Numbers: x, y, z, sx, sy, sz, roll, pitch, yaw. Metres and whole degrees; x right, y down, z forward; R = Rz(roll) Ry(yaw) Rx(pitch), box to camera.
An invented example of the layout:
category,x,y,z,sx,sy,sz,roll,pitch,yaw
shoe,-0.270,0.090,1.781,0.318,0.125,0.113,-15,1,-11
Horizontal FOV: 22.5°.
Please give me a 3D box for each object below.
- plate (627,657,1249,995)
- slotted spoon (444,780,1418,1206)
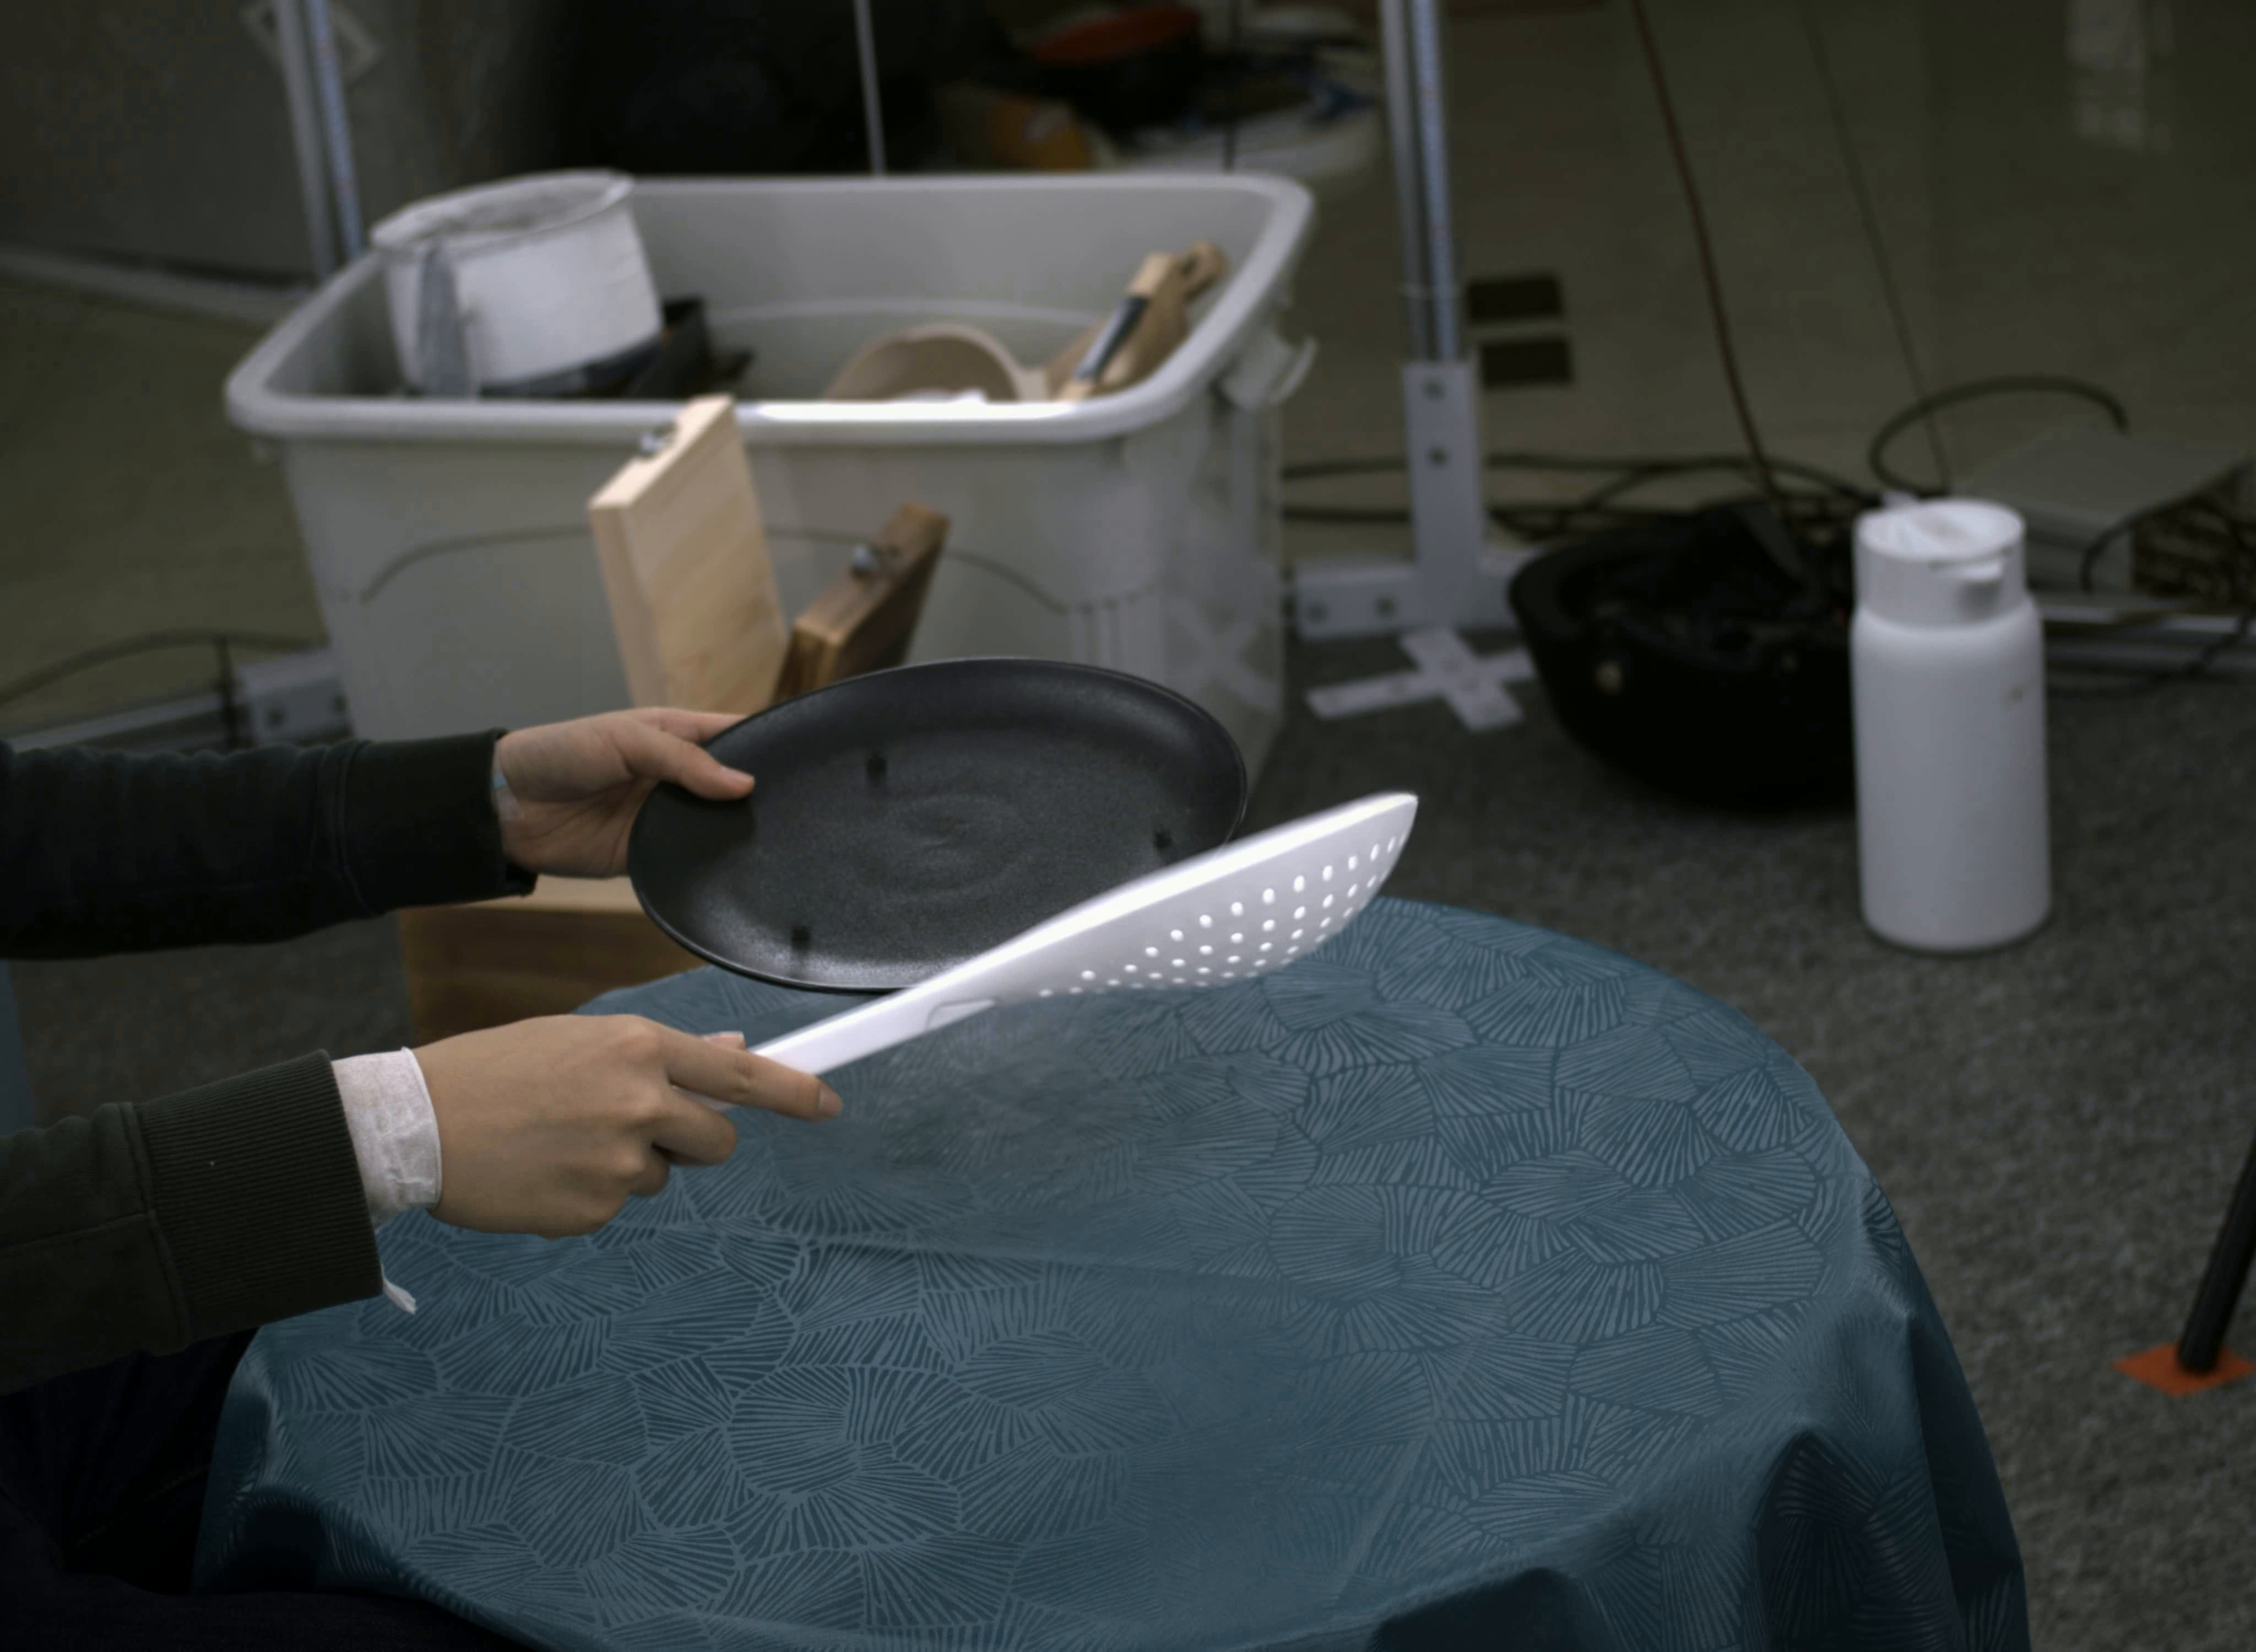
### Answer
category,x,y,z,sx,sy,sz,roll,pitch,yaw
plate,-0.073,0.005,2.199,0.244,0.024,0.240,-5,32,3
slotted spoon,-0.060,0.054,1.859,0.348,0.046,0.136,-17,2,-18
